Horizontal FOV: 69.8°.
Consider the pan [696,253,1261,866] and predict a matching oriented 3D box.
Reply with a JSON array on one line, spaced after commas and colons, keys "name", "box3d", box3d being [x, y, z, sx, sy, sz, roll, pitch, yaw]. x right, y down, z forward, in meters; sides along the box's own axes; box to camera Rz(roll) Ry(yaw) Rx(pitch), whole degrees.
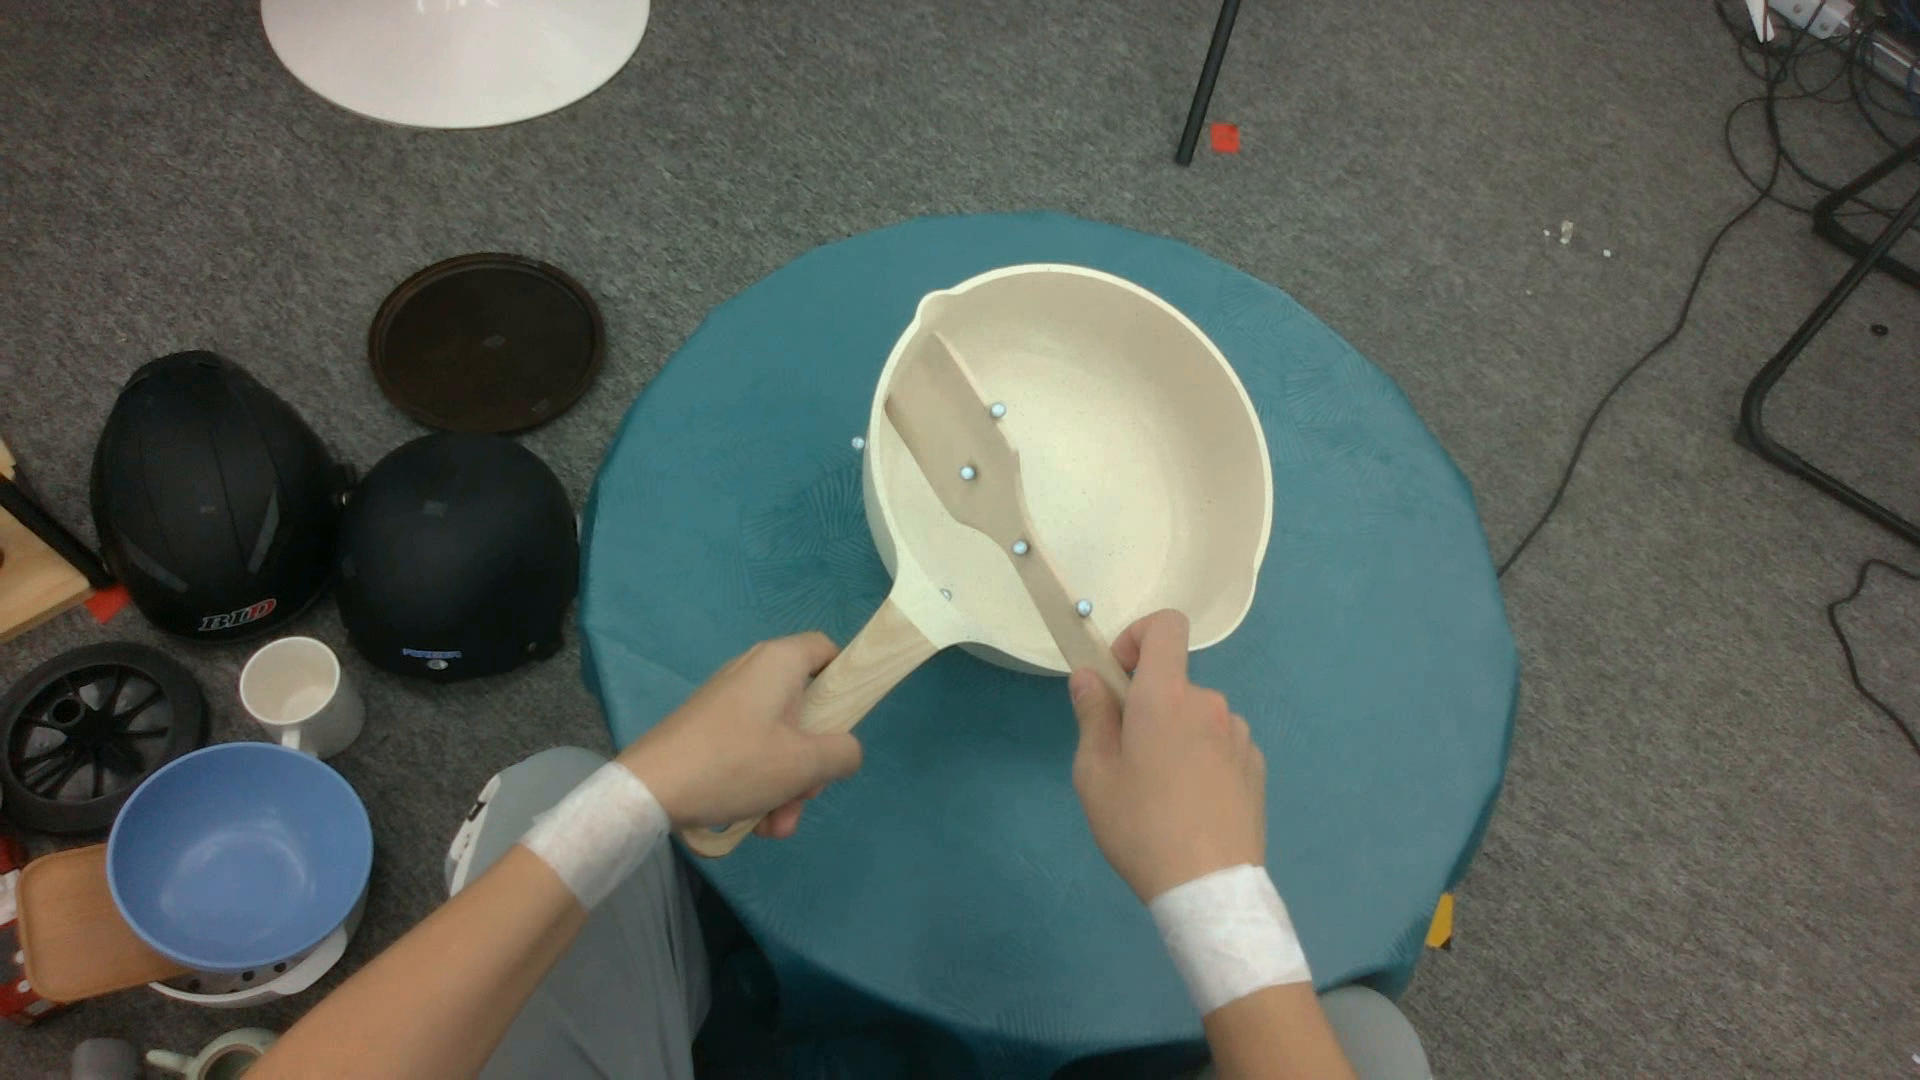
[{"name": "pan", "box3d": [-0.002, 0.017, 0.798, 0.263, 0.101, 0.436, 44, 66, -3]}]

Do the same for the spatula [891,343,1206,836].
[{"name": "spatula", "box3d": [0.046, 0.024, 0.724, 0.011, 0.072, 0.293, -13, 62, -39]}]
